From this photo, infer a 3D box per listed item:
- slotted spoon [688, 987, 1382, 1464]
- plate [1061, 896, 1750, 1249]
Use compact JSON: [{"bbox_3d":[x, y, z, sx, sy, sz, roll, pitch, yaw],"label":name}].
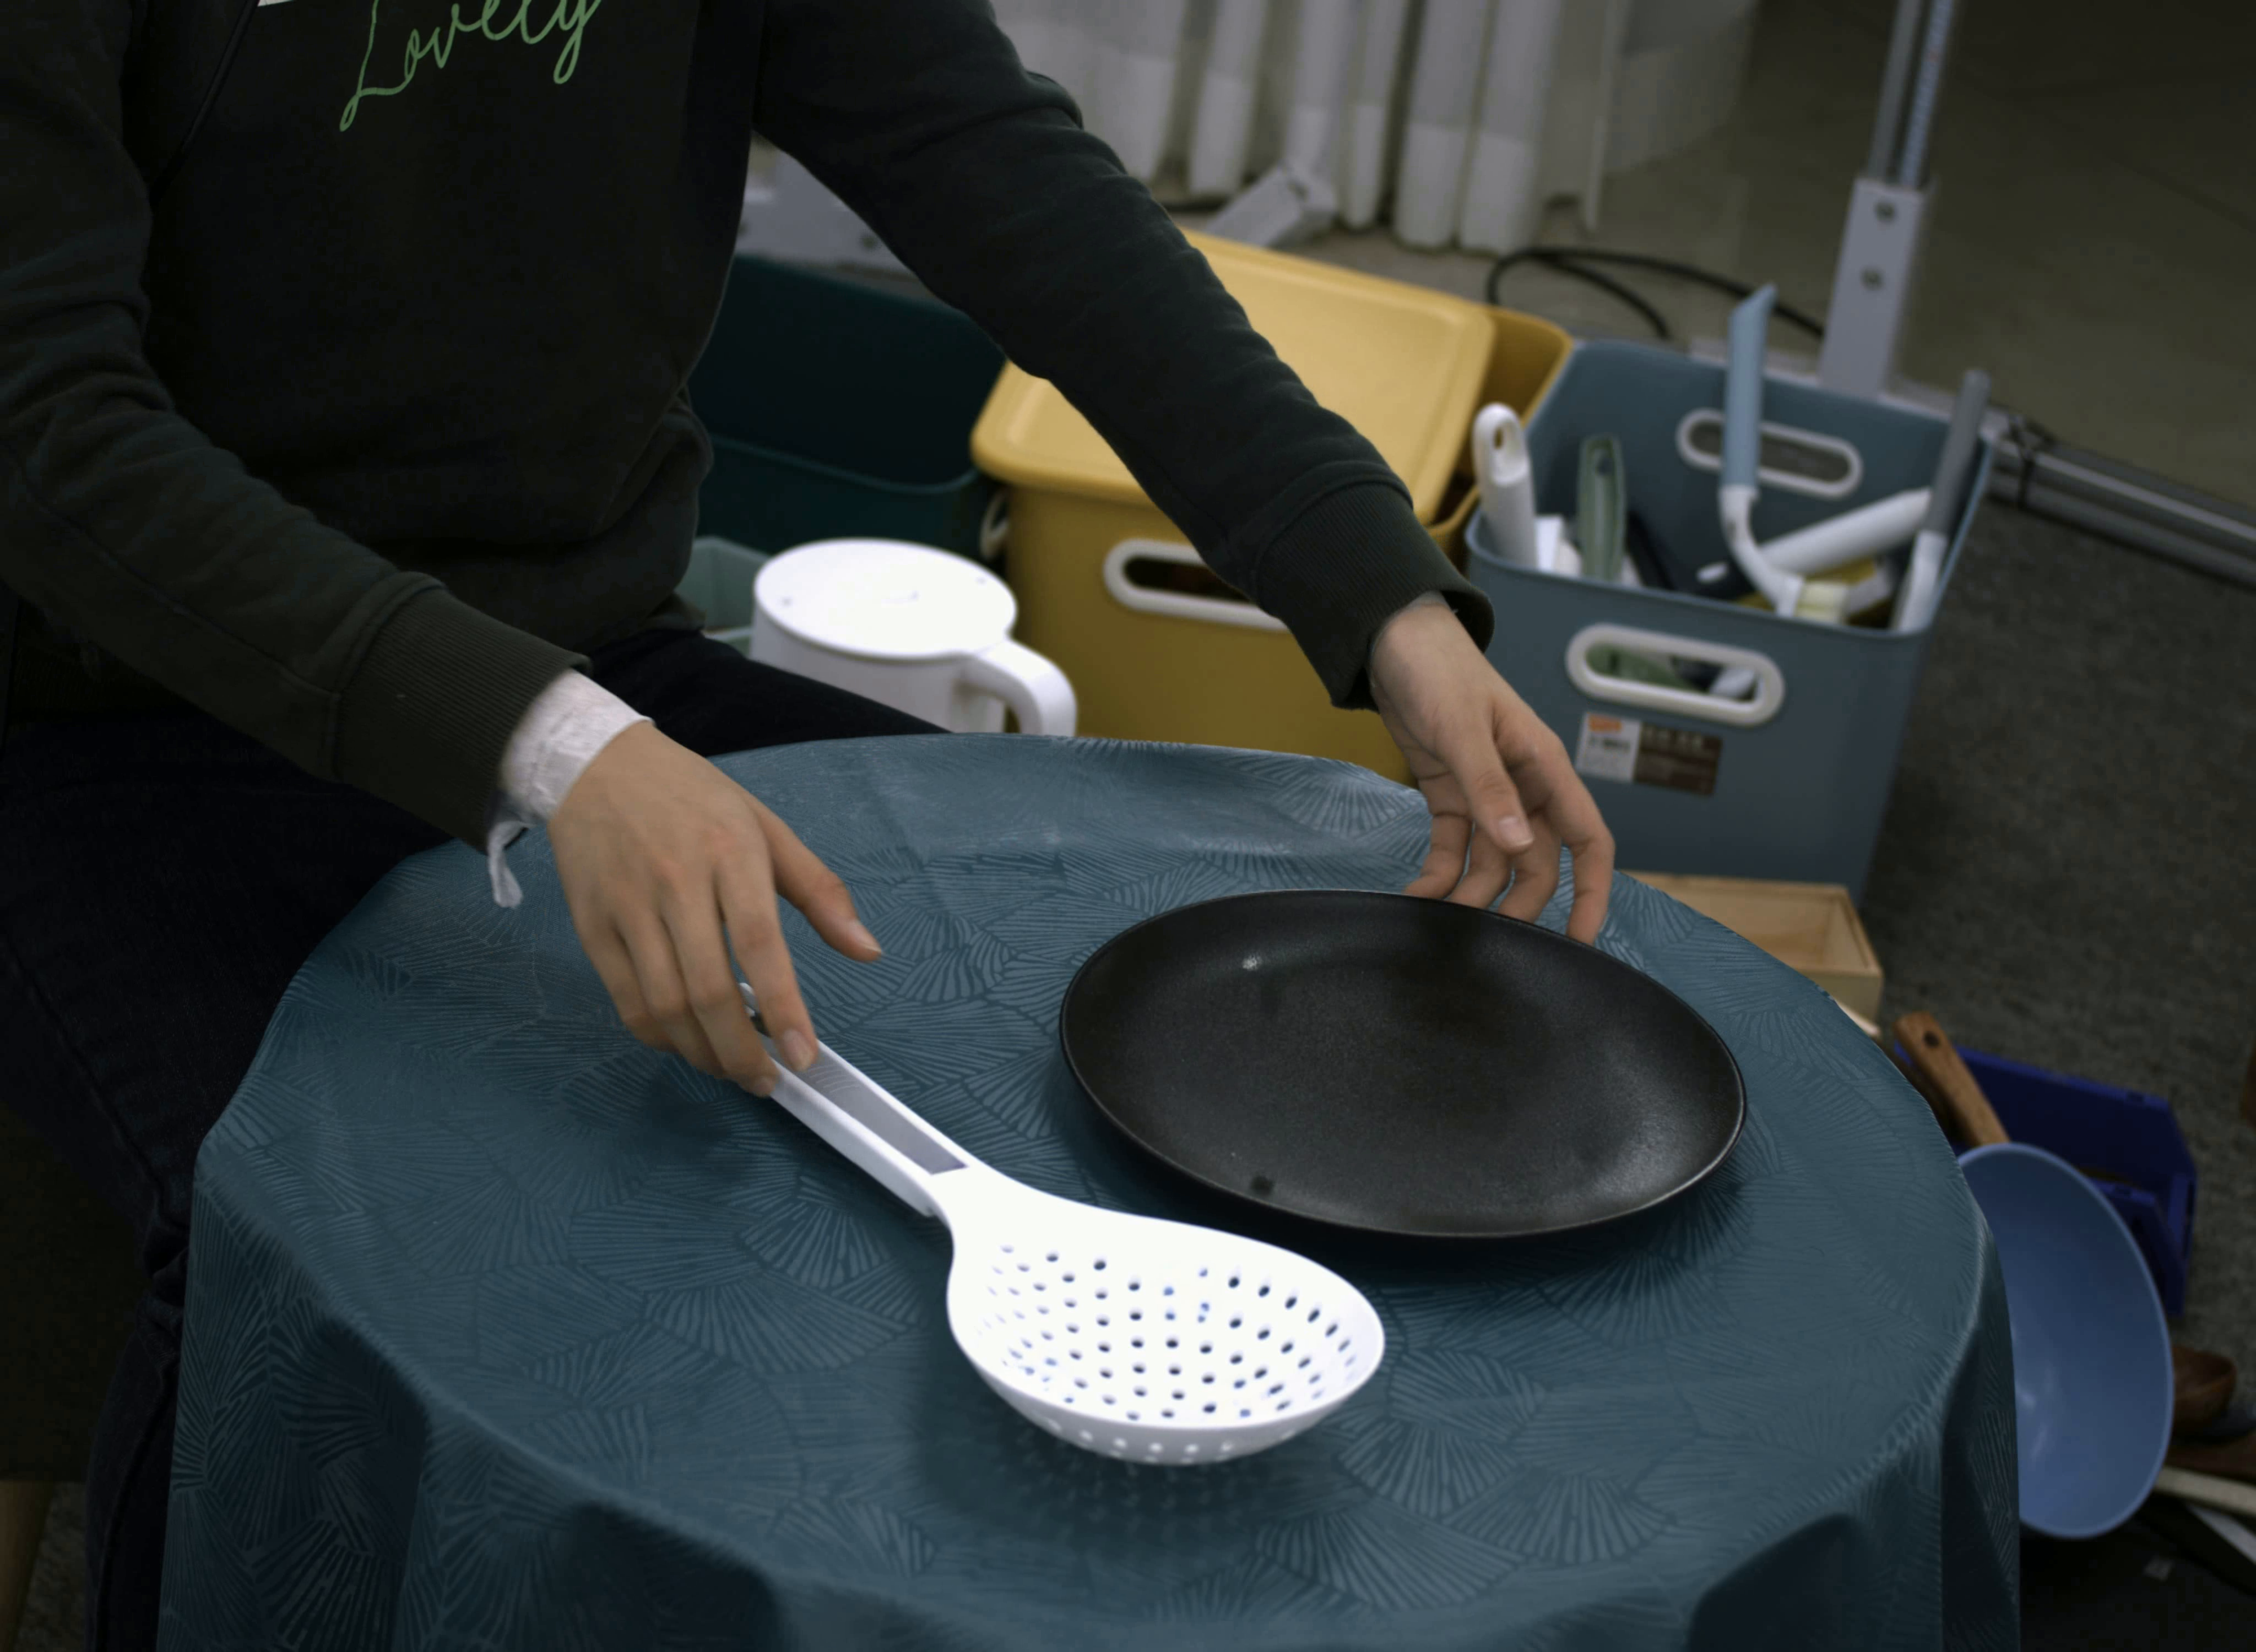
[{"bbox_3d":[-0.049,0.124,1.738,0.135,0.045,0.353,-9,30,-33],"label":"slotted spoon"},{"bbox_3d":[0.096,0.090,1.864,0.243,0.023,0.246,5,27,-3],"label":"plate"}]
